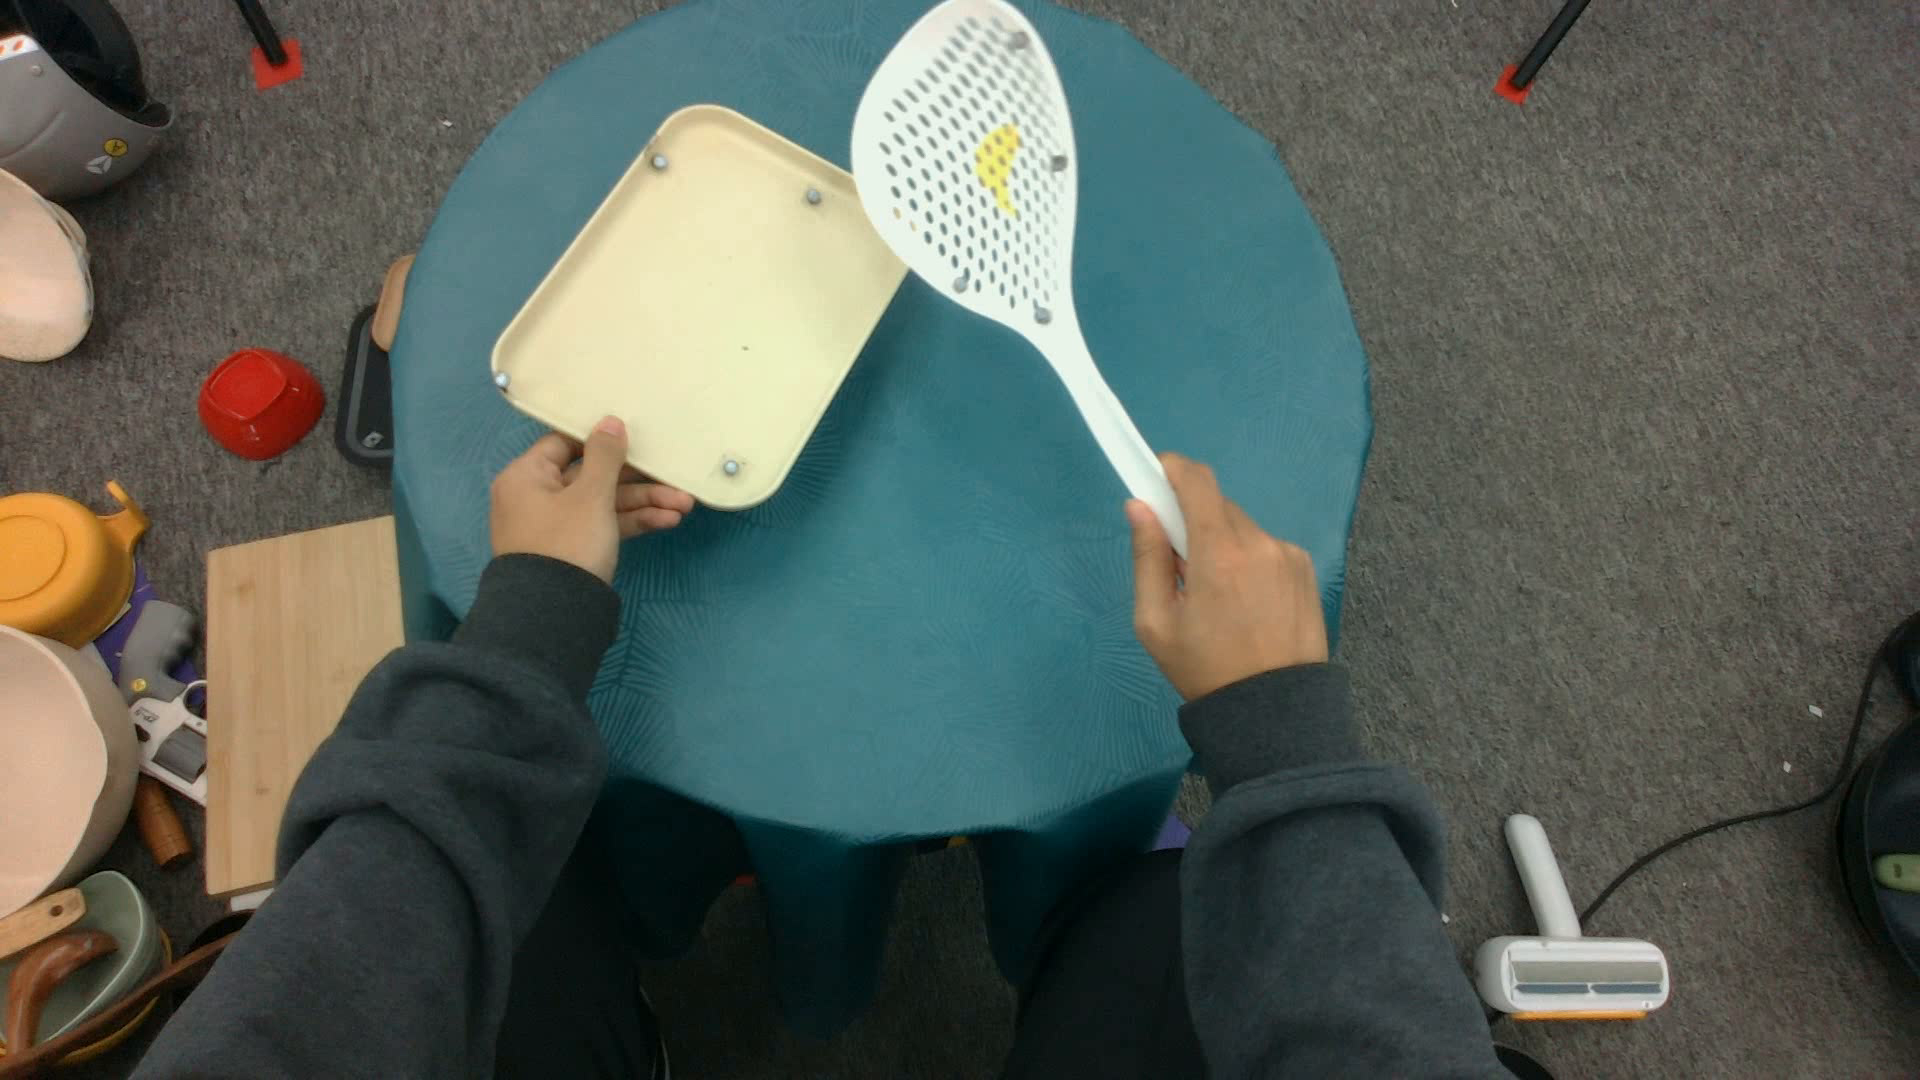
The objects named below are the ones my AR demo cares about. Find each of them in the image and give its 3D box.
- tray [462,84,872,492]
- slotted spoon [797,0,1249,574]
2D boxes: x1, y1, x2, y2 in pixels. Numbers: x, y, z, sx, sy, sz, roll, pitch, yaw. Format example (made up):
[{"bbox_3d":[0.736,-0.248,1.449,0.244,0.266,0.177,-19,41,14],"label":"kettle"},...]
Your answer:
[{"bbox_3d":[-0.155,-0.148,0.787,0.171,0.017,0.241,27,63,-3],"label":"tray"},{"bbox_3d":[0.033,-0.124,0.696,0.050,0.136,0.348,-8,63,-52],"label":"slotted spoon"}]
